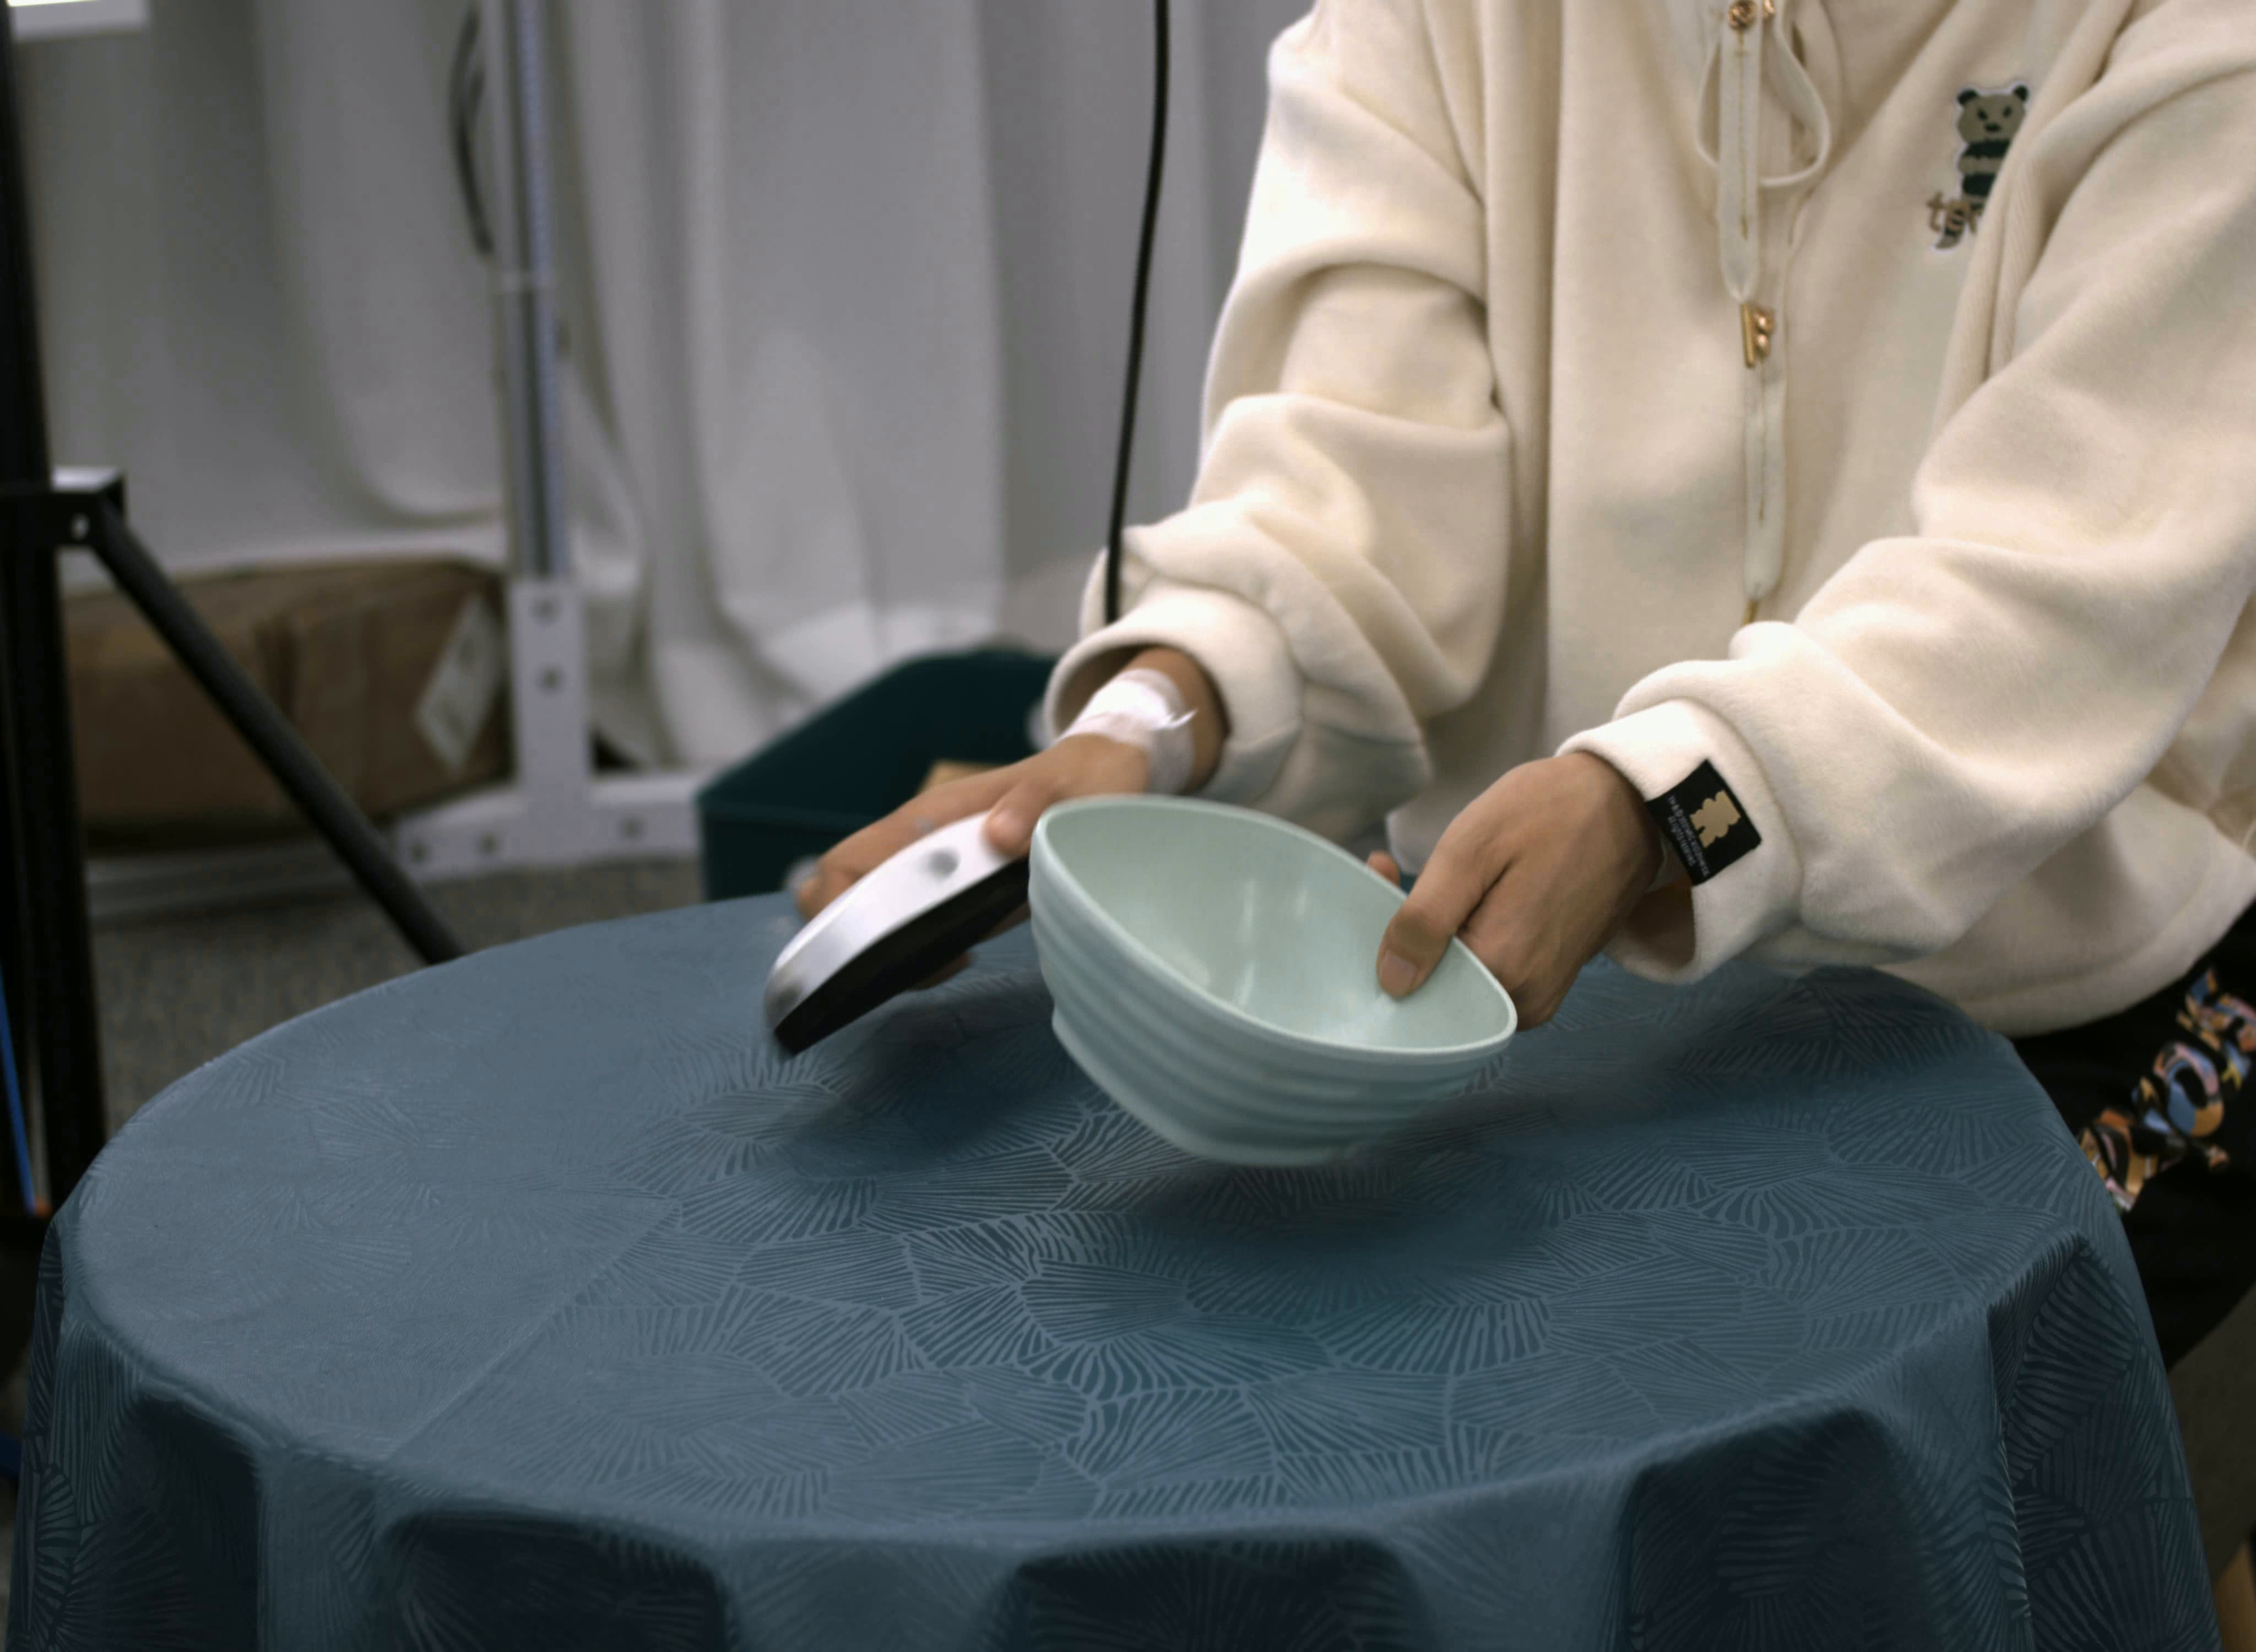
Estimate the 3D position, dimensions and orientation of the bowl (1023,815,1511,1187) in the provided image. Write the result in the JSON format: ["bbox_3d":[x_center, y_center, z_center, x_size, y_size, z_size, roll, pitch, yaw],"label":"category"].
[{"bbox_3d":[0.032,0.057,1.541,0.150,0.059,0.152,19,21,-9],"label":"bowl"}]

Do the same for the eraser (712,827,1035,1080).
[{"bbox_3d":[-0.077,0.036,1.651,0.064,0.034,0.129,-36,-1,30],"label":"eraser"}]
